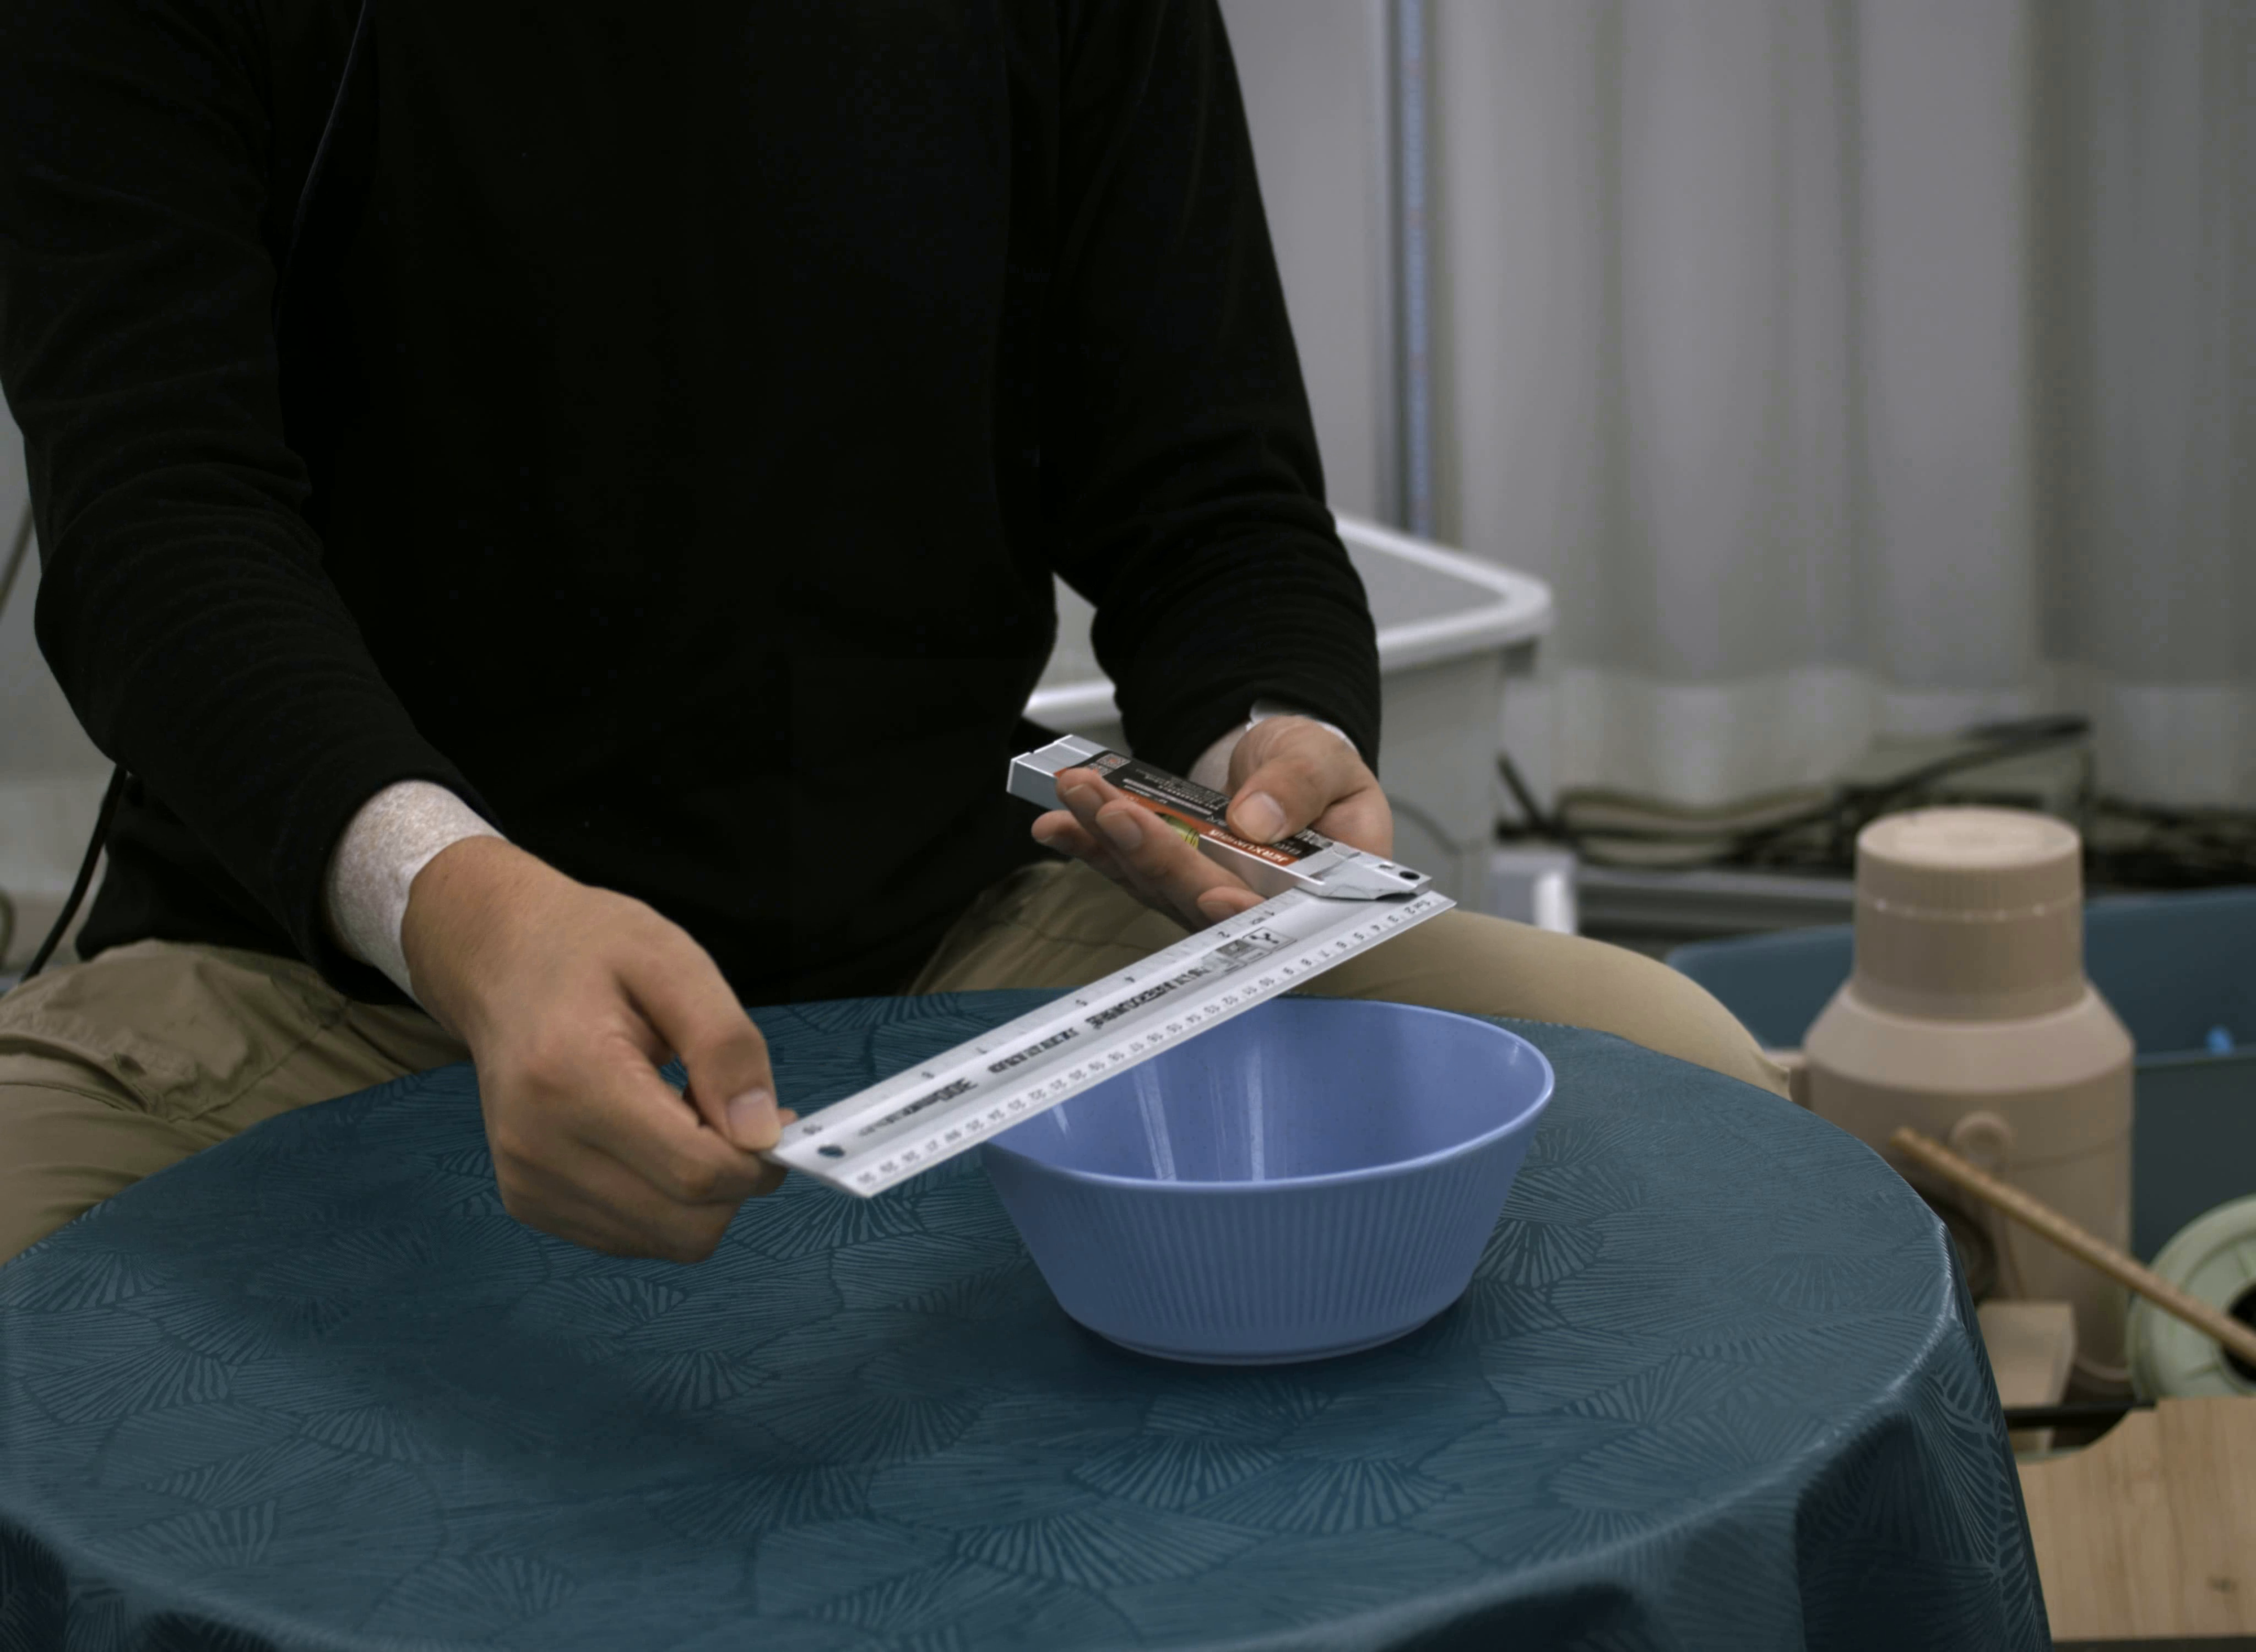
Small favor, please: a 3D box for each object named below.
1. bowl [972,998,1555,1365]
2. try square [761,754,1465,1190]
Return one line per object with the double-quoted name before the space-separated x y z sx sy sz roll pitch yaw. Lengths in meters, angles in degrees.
"bowl" 0.038 0.107 1.602 0.175 0.070 0.177 -3 15 1
"try square" -0.041 0.039 1.622 0.153 0.016 0.313 18 24 30
